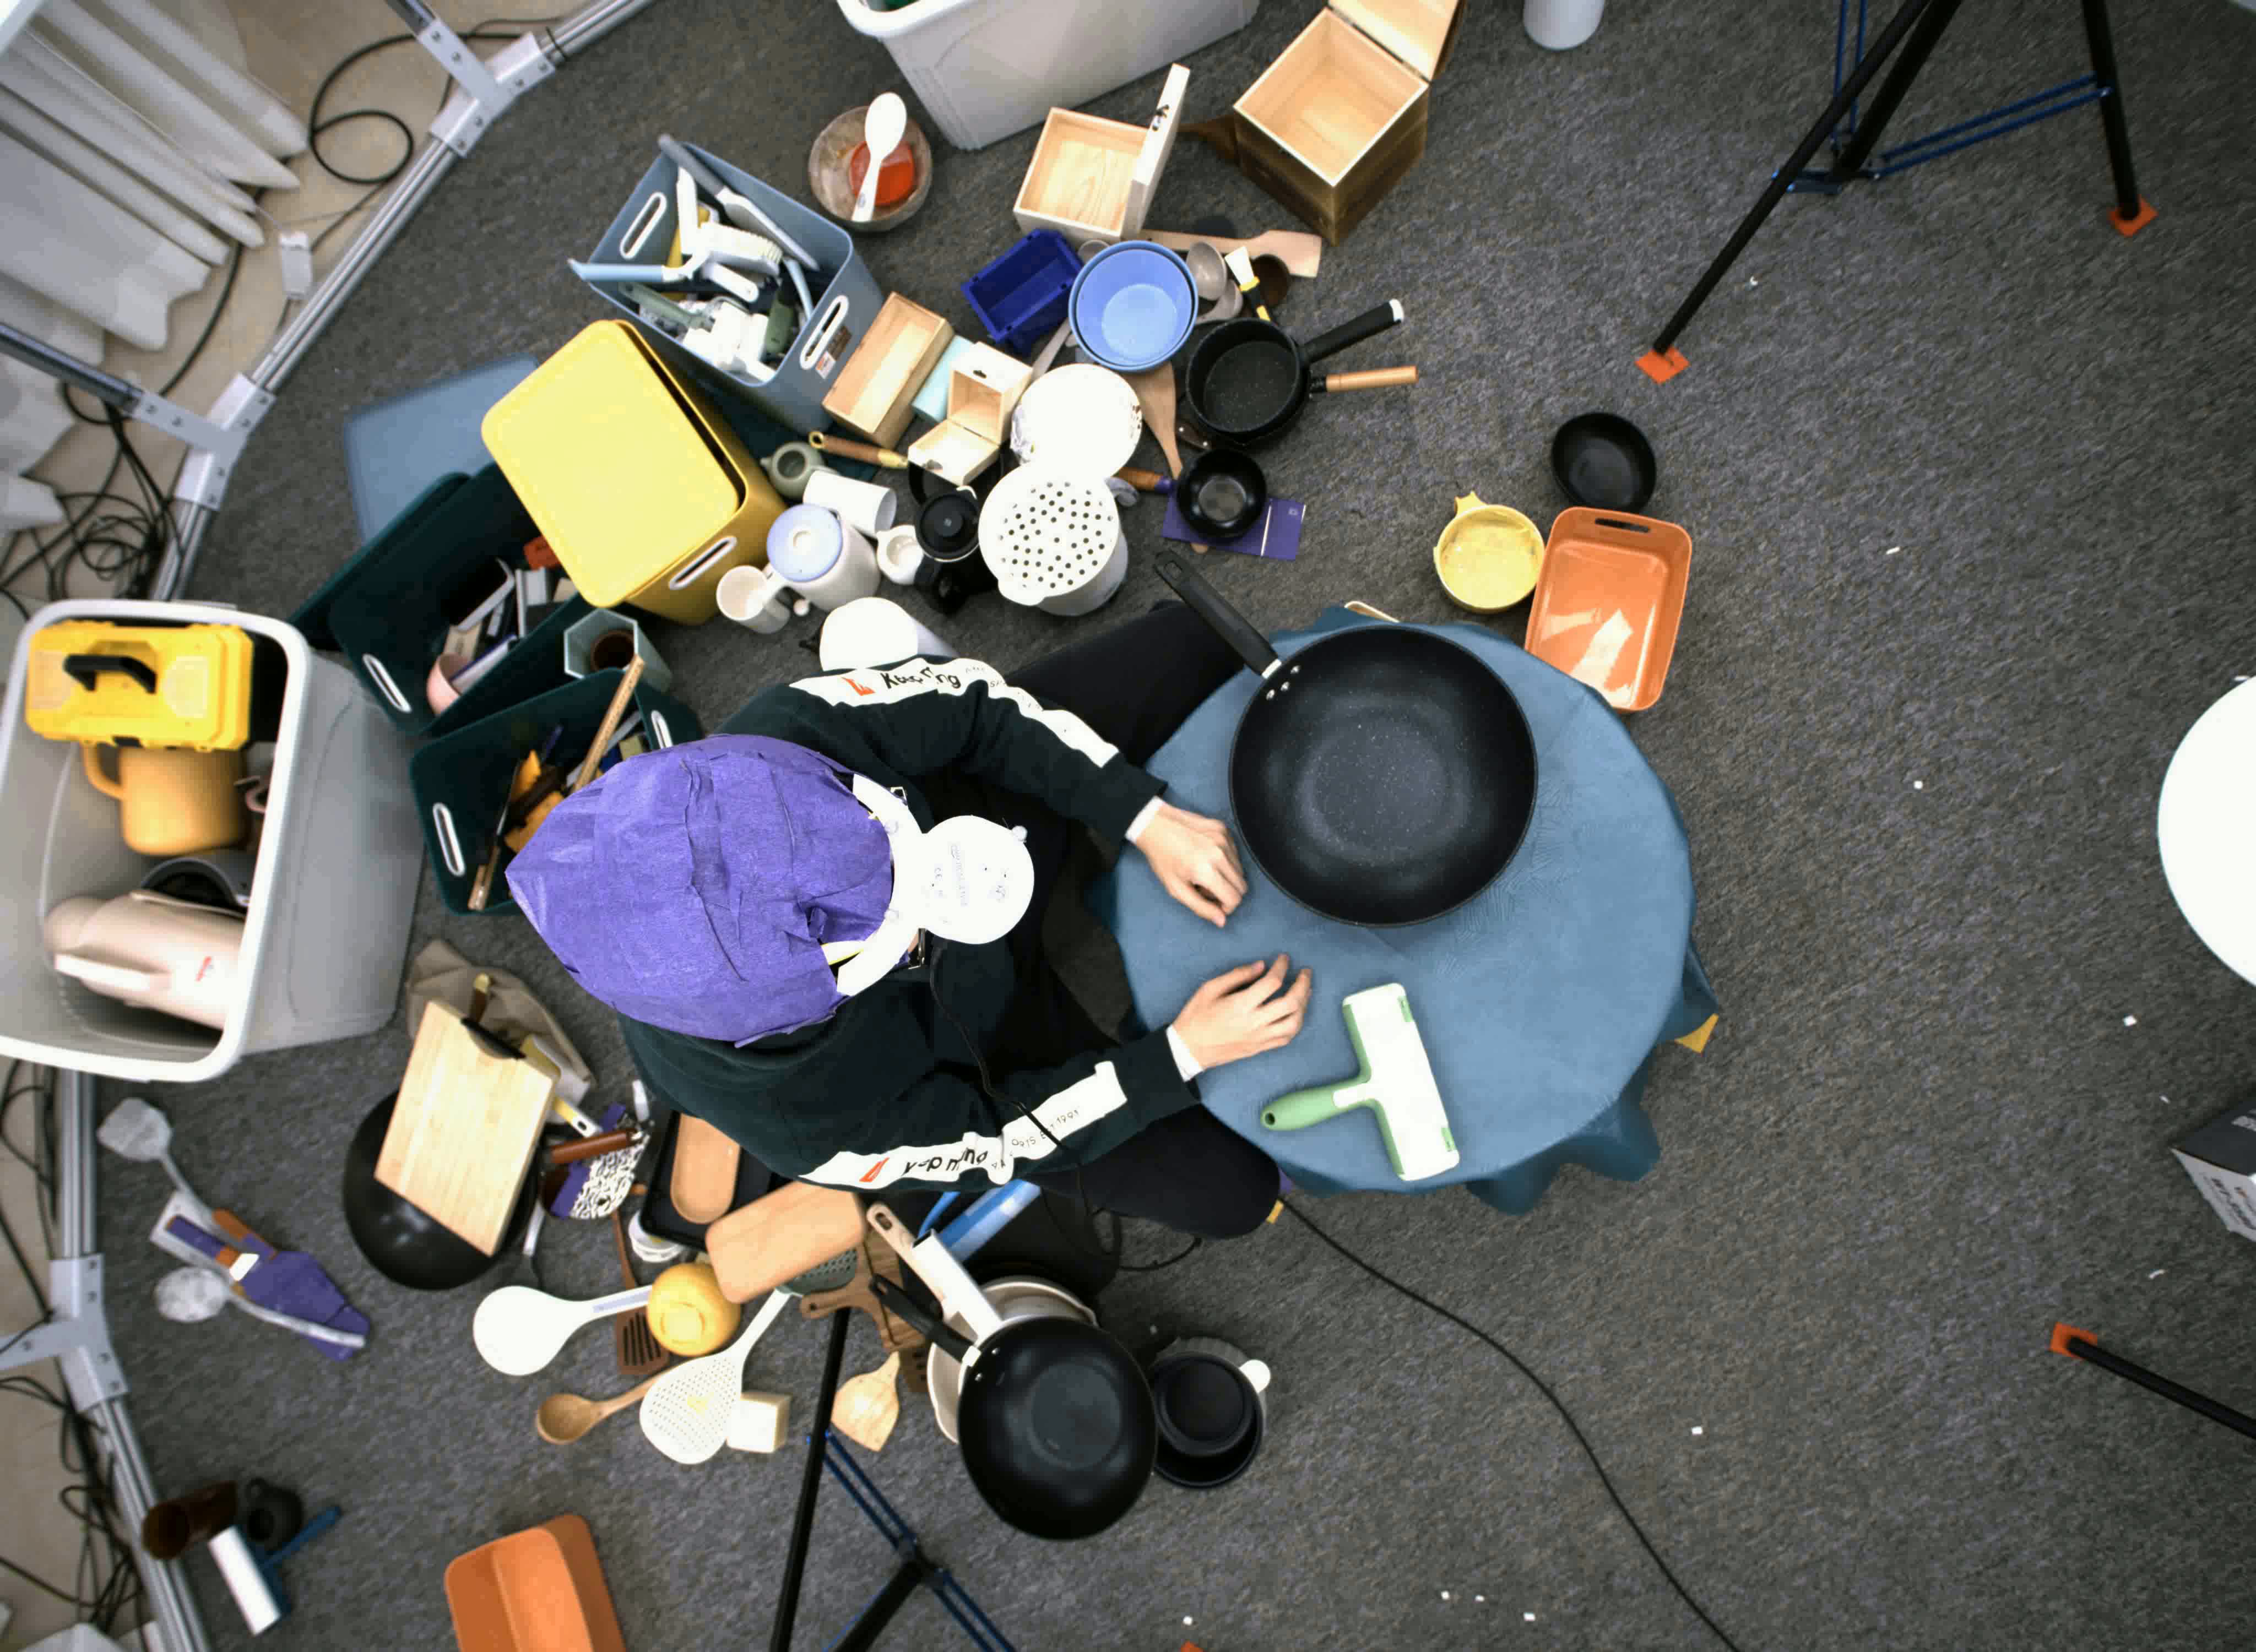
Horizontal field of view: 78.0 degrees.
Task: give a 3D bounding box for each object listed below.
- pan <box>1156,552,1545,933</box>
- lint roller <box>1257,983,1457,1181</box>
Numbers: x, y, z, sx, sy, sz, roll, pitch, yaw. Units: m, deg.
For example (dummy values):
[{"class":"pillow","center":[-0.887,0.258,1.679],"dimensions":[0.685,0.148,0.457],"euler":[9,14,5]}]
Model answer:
[{"class":"pan","center":[0.207,-0.104,1.422],"dimensions":[0.311,0.112,0.475],"euler":[-45,81,4]},{"class":"lint roller","center":[0.221,0.276,1.416],"dimensions":[0.184,0.082,0.197],"euler":[-17,84,4]}]
